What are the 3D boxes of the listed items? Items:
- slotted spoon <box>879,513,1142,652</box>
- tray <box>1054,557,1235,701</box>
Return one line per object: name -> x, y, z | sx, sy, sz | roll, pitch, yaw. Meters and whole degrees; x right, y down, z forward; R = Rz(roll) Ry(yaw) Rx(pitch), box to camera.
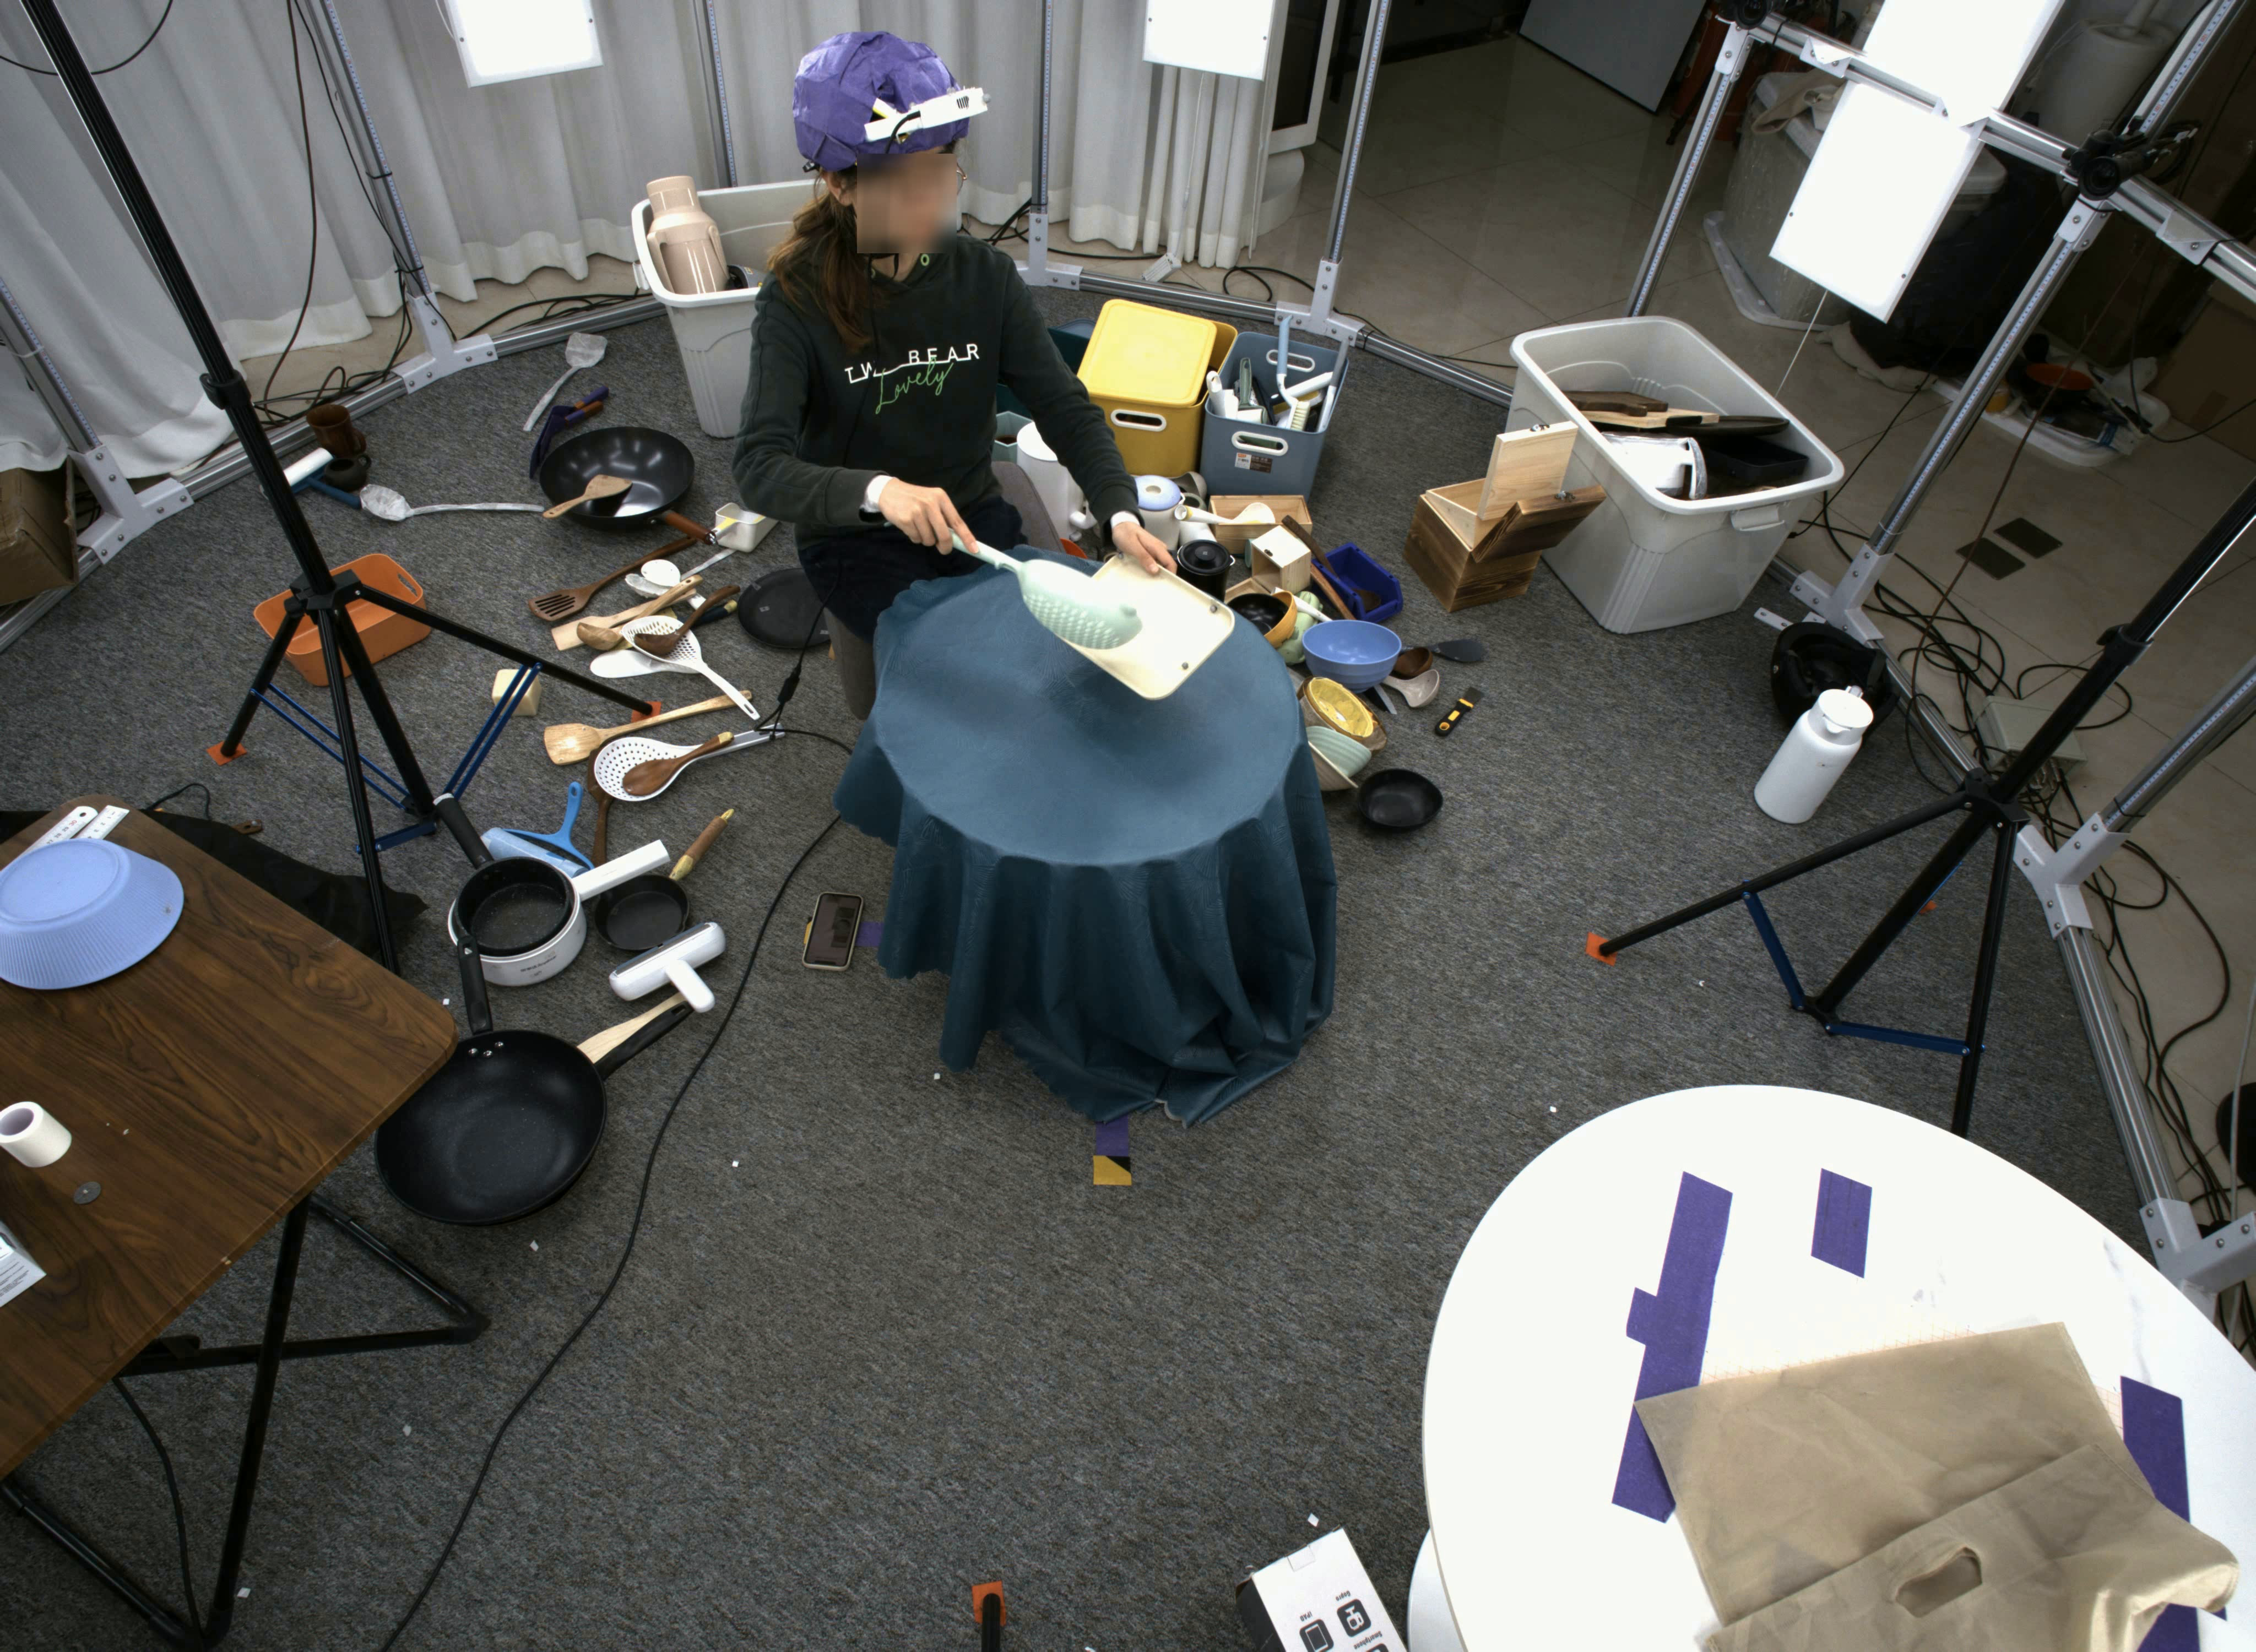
slotted spoon -> -0.151, -0.324, 1.657 | 0.359, 0.168, 0.076 | 34, 82, 3
tray -> 0.021, -0.273, 1.770 | 0.172, 0.017, 0.244 | -45, 54, -10
